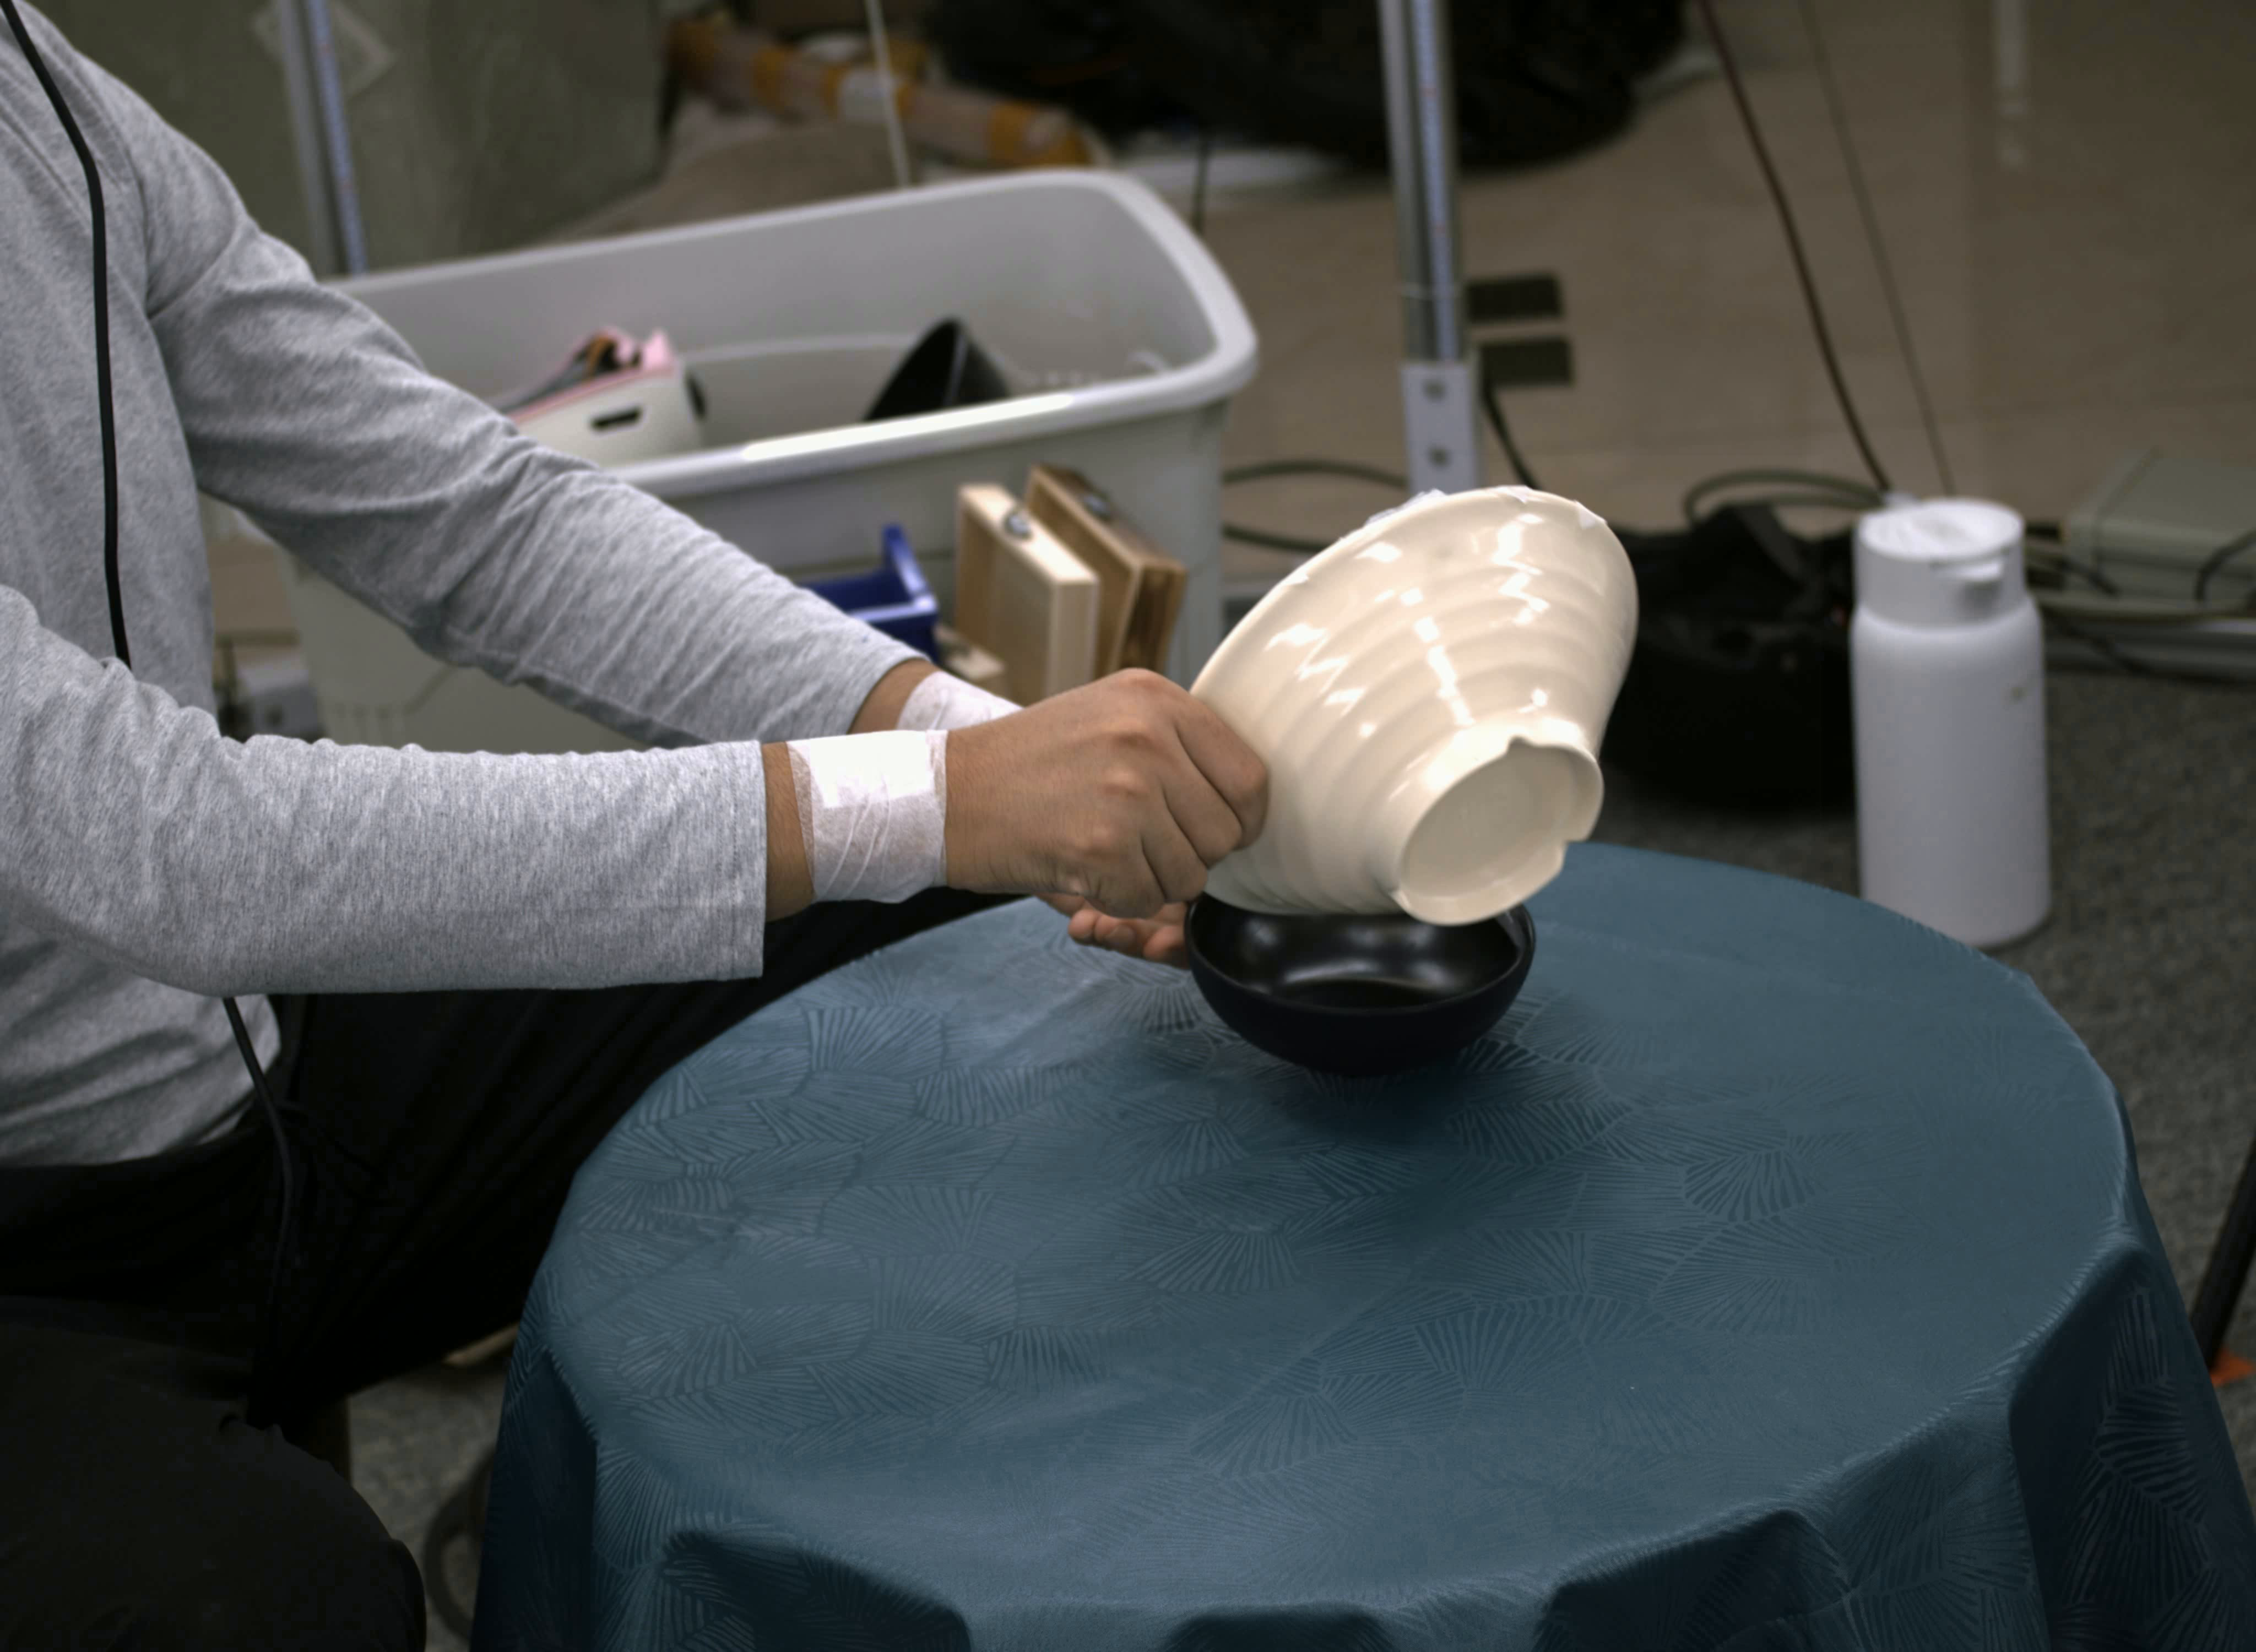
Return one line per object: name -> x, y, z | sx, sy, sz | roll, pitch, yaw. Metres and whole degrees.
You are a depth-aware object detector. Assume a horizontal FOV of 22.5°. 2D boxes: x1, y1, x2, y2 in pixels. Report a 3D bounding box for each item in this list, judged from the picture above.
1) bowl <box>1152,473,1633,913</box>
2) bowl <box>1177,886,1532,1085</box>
bowl -> 0.116, -0.026, 2.074 | 0.203, 0.208, 0.077 | -17, 50, -23
bowl -> 0.090, 0.064, 2.232 | 0.140, 0.050, 0.138 | -4, 25, 2
